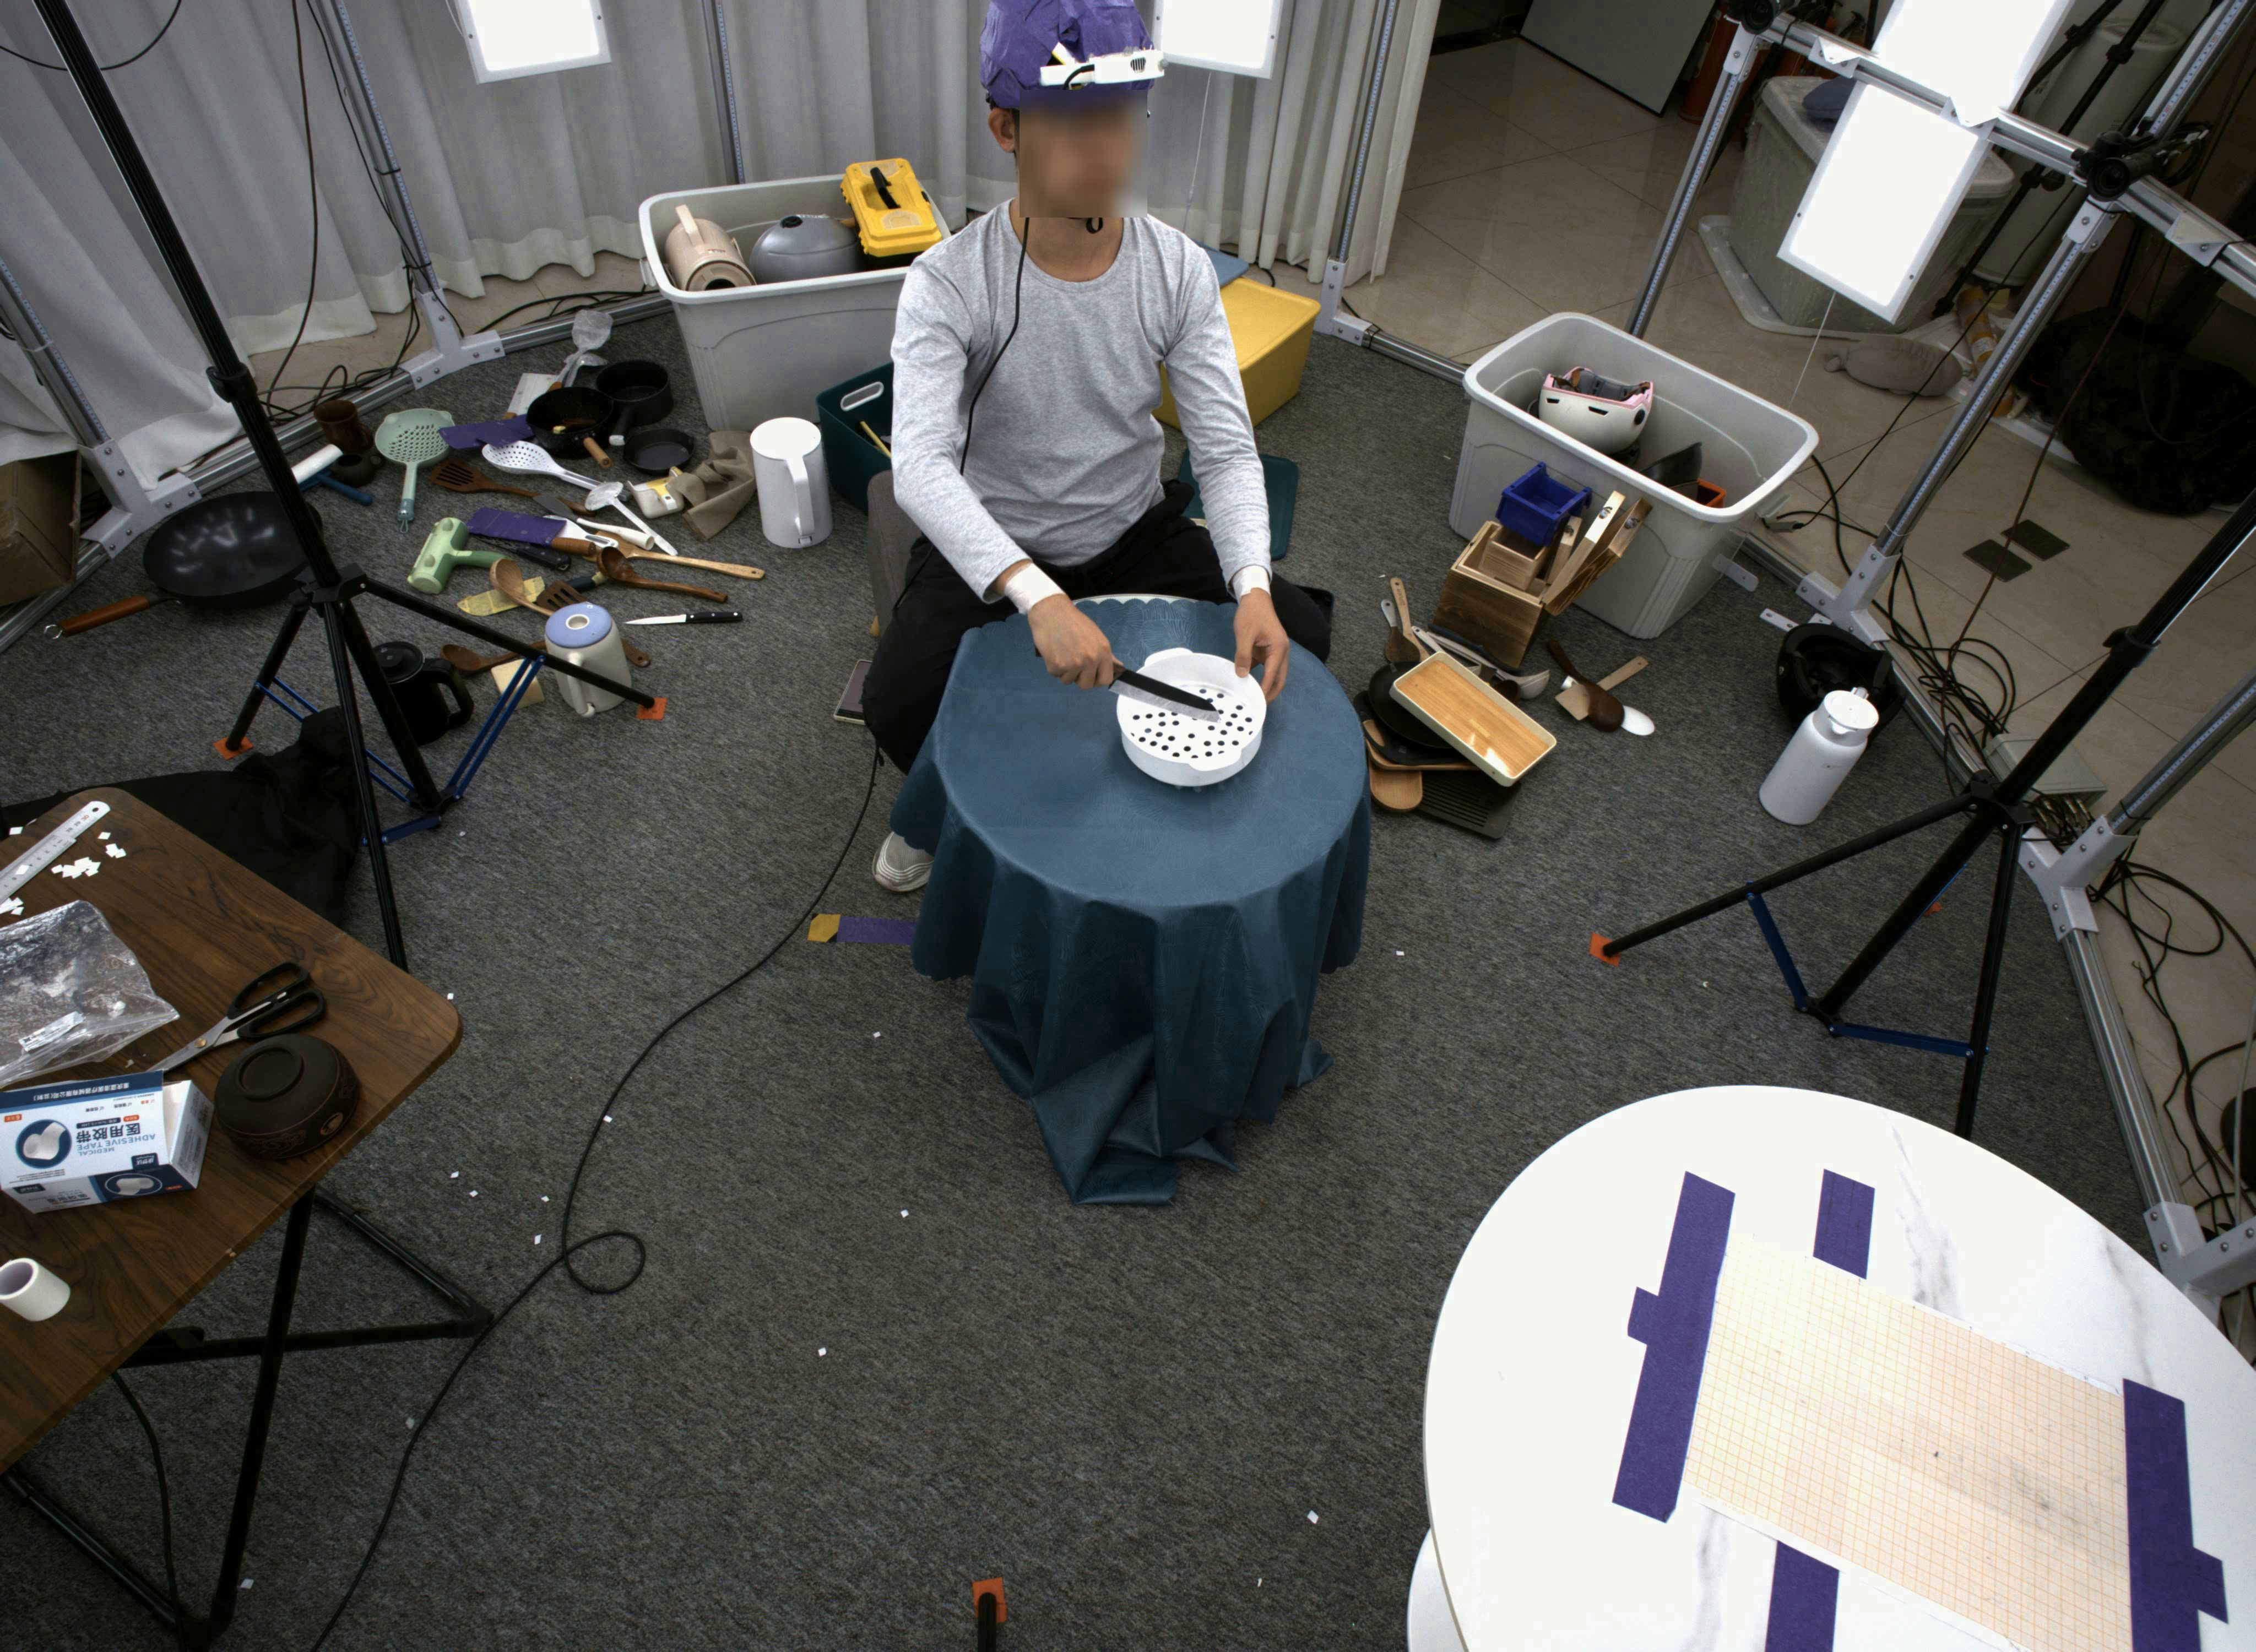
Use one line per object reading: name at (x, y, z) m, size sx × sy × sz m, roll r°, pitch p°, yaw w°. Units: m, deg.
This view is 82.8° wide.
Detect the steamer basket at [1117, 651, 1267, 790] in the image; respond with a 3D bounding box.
steamer basket at (0.087, -0.139, 1.742) m, size 0.202 × 0.067 × 0.236 m, roll -15°, pitch 51°, yaw -9°

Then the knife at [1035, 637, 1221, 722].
knife at (0.004, -0.190, 1.697) m, size 0.286 × 0.049 × 0.020 m, roll 20°, pitch 46°, yaw -23°
